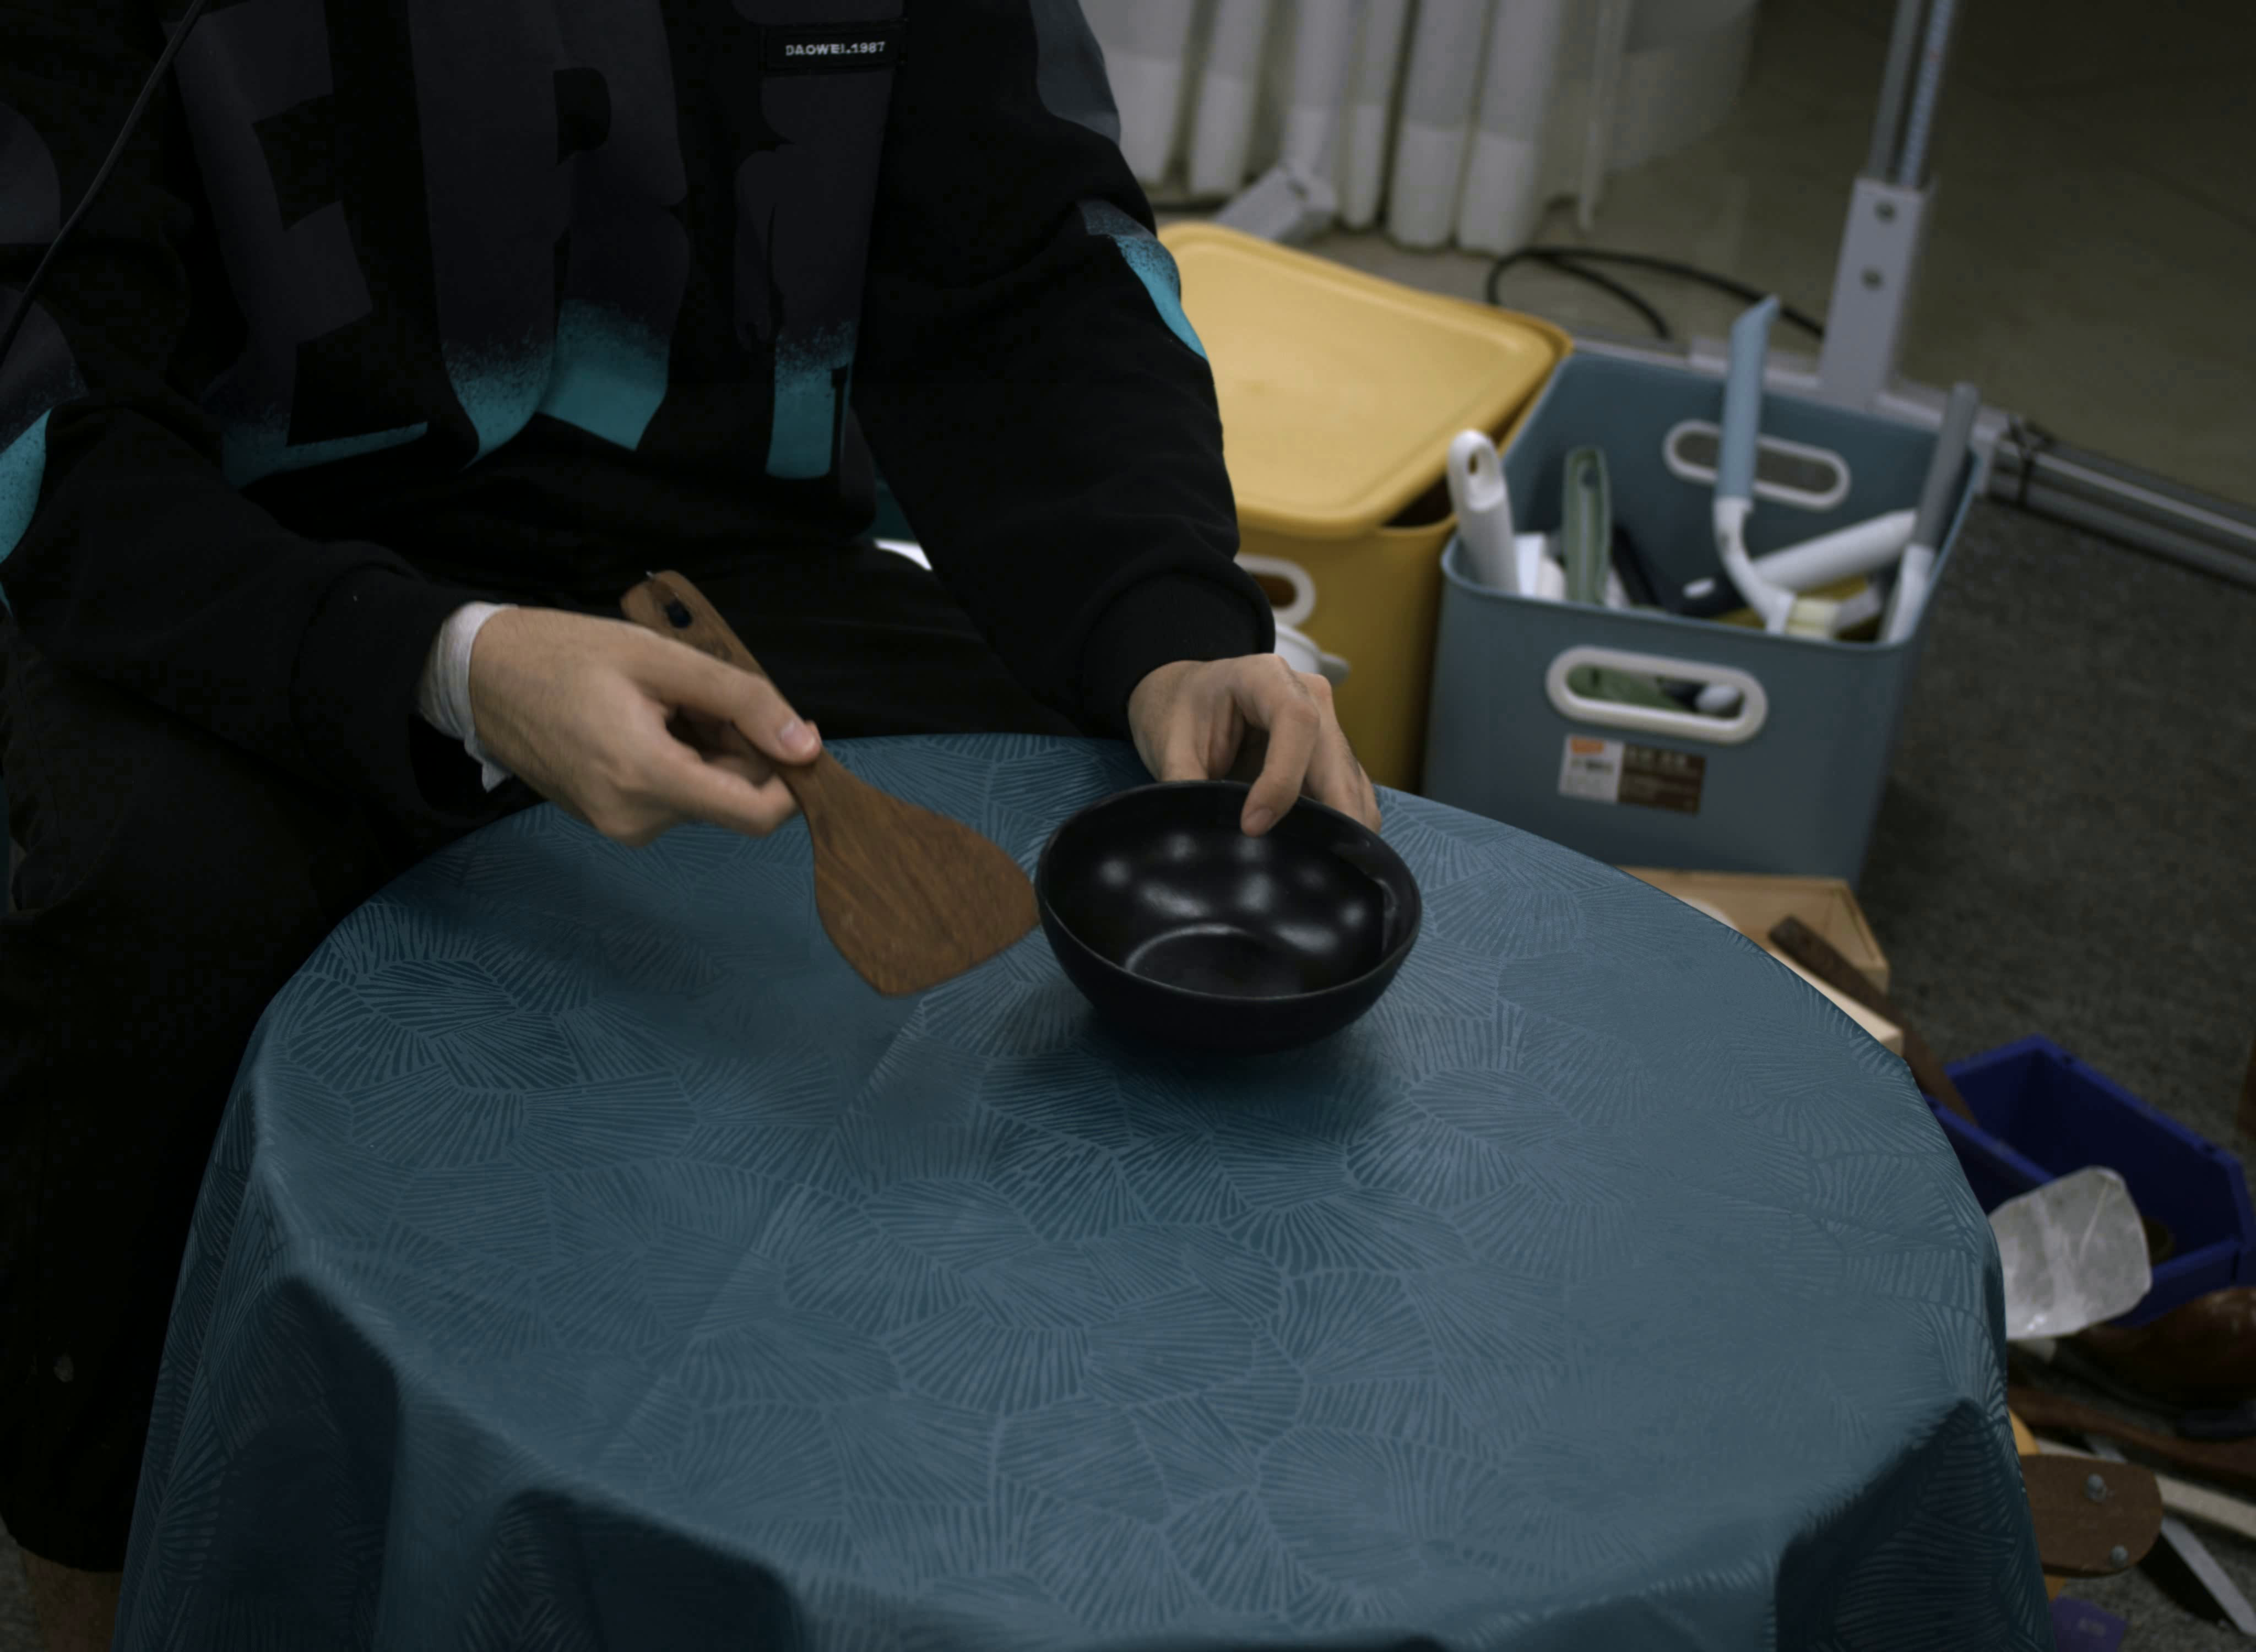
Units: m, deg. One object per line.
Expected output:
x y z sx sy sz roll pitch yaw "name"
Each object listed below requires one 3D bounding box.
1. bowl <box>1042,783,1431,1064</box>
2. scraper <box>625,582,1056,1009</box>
0.038 0.043 1.903 0.139 0.049 0.141 2 34 -2 "bowl"
-0.110 -0.015 1.857 0.075 0.011 0.213 -27 57 -24 "scraper"
